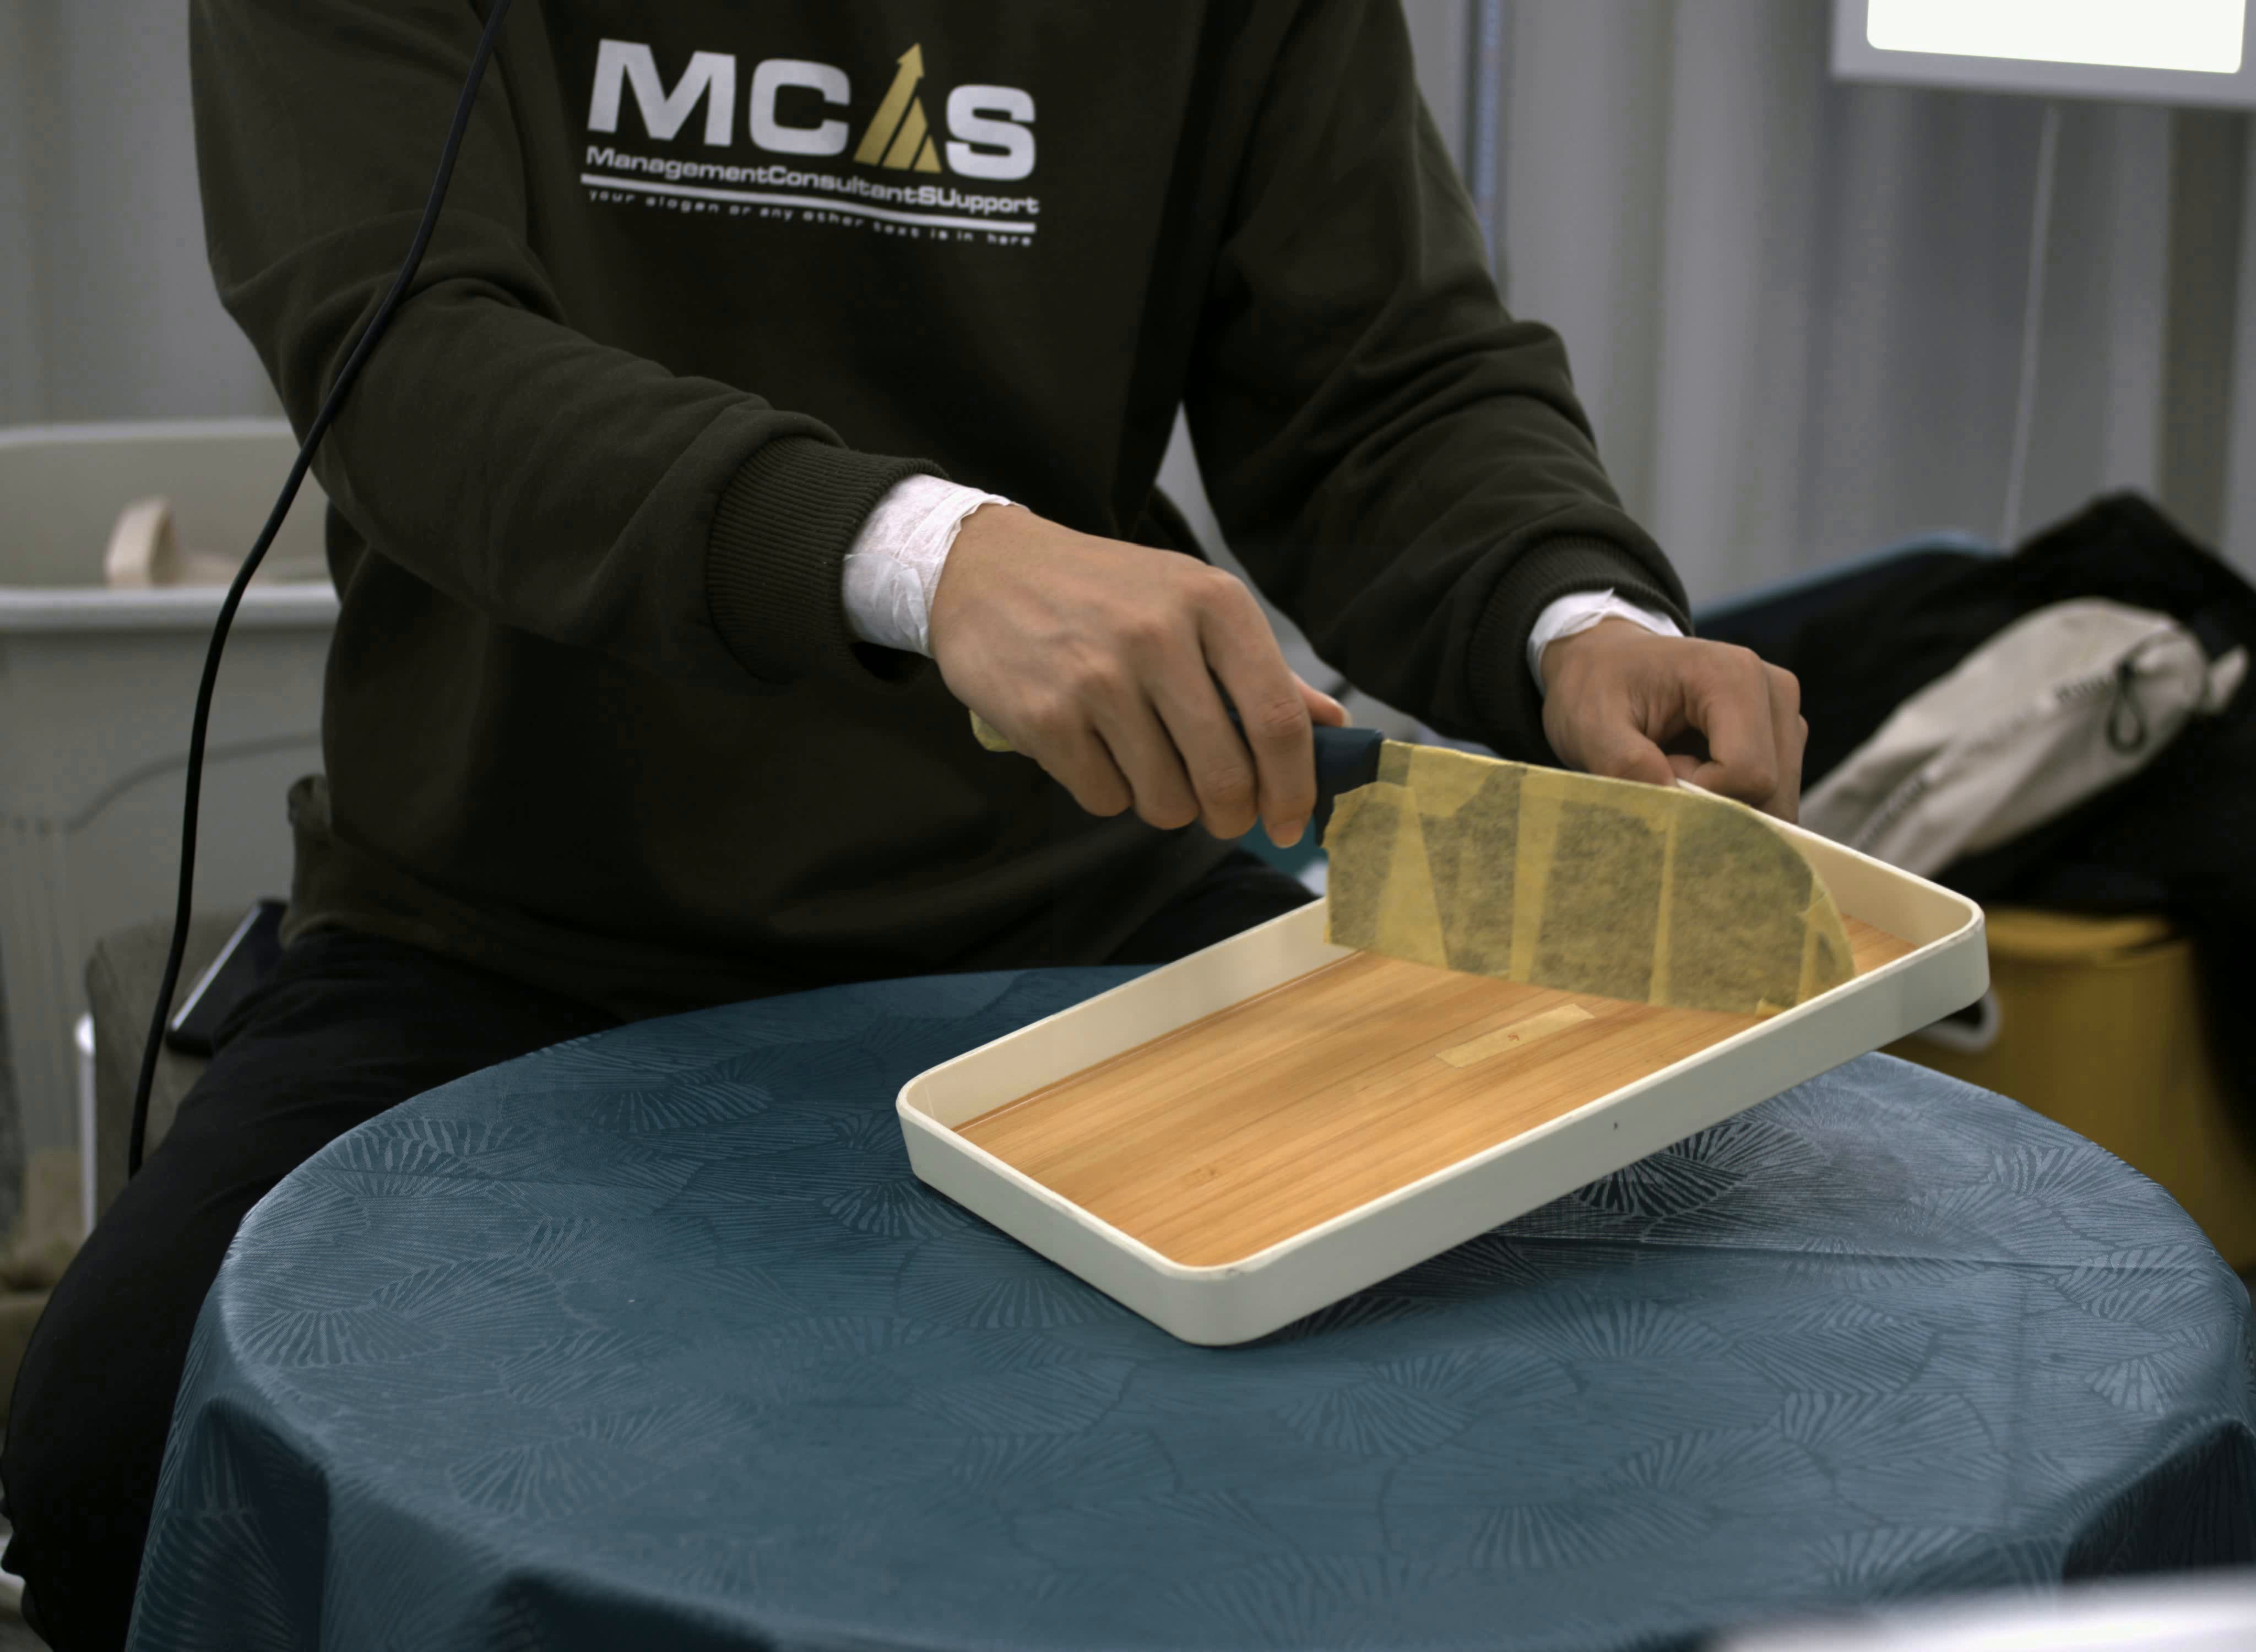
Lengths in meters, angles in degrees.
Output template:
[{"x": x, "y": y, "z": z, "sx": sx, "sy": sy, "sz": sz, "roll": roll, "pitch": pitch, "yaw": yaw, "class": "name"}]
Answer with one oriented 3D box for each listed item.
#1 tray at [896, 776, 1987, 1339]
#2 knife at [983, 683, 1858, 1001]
[{"x": 0.096, "y": 0.065, "z": 1.622, "sx": 0.301, "sy": 0.028, "sz": 0.189, "roll": -22, "pitch": 25, "yaw": -26, "class": "tray"}, {"x": 0.089, "y": 0.004, "z": 1.639, "sx": 0.287, "sy": 0.082, "sz": 0.027, "roll": 13, "pitch": 22, "yaw": 16, "class": "knife"}]
